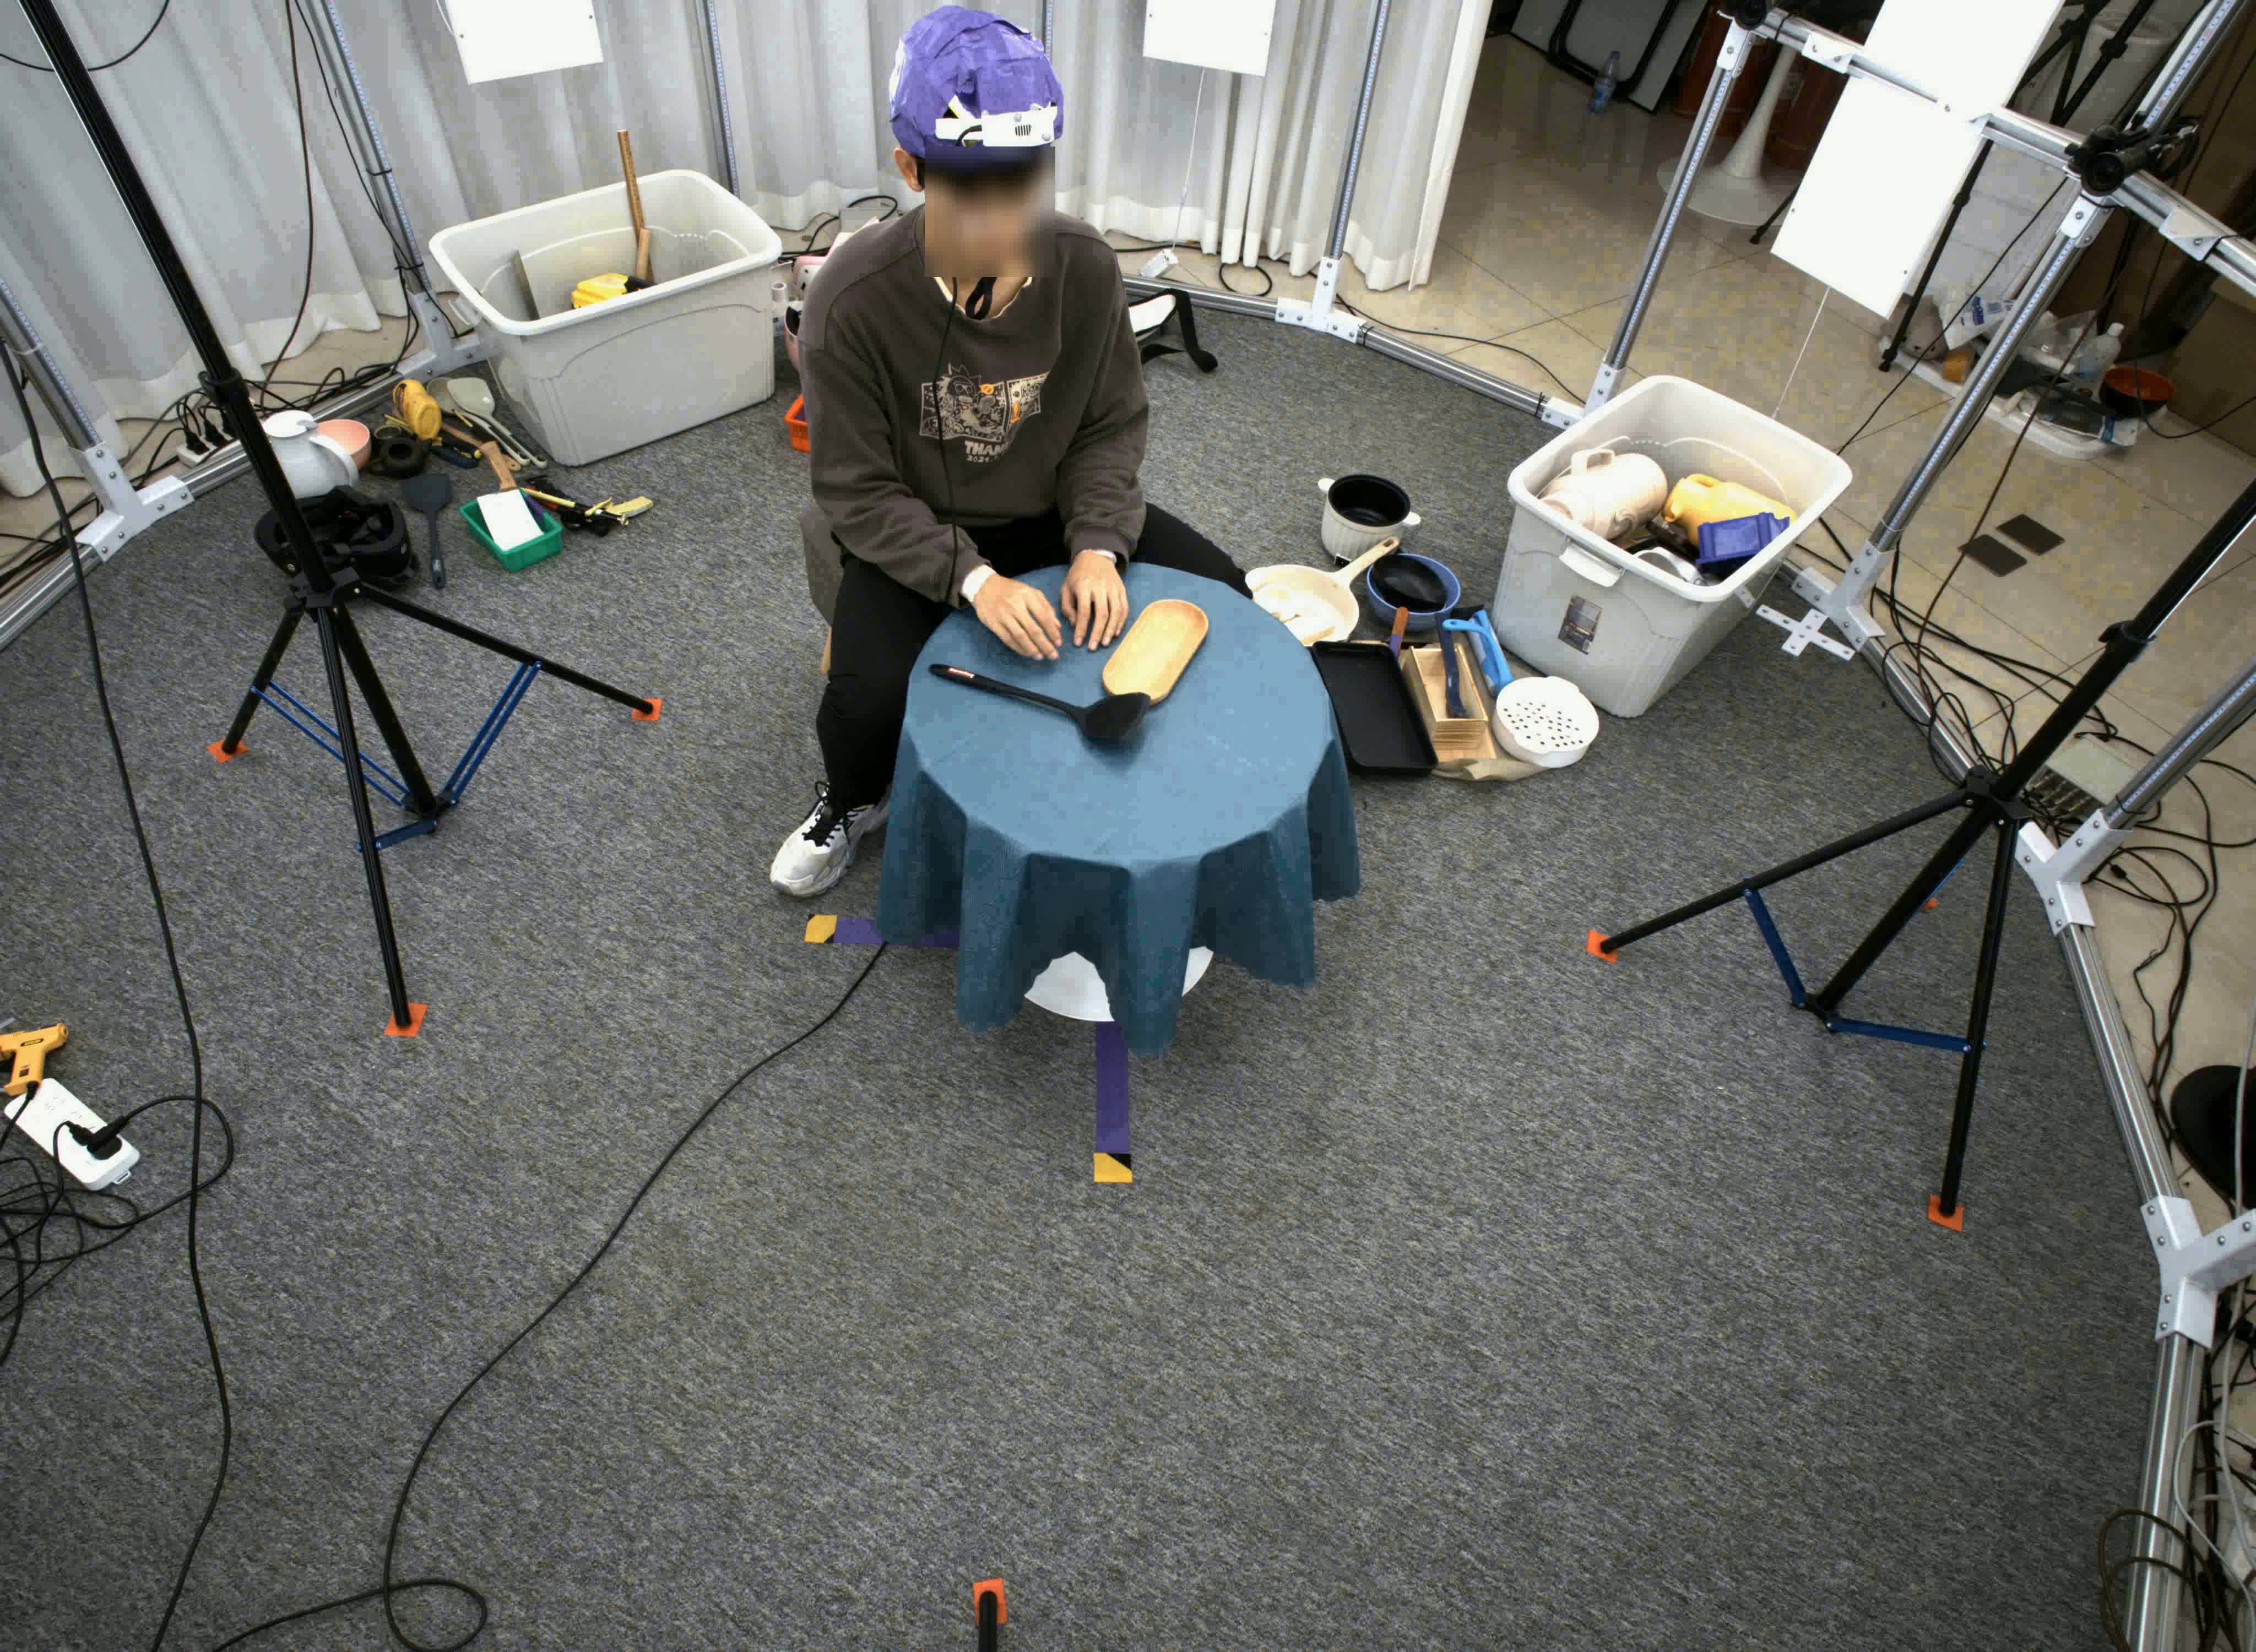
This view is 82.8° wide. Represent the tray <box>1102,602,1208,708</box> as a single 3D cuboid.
[{"bbox_3d":[0.041,-0.252,1.877,0.102,0.020,0.235,20,52,14],"label":"tray"}]

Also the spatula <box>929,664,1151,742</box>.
[{"bbox_3d":[-0.131,-0.185,1.795,0.328,0.039,0.101,19,49,12],"label":"spatula"}]
